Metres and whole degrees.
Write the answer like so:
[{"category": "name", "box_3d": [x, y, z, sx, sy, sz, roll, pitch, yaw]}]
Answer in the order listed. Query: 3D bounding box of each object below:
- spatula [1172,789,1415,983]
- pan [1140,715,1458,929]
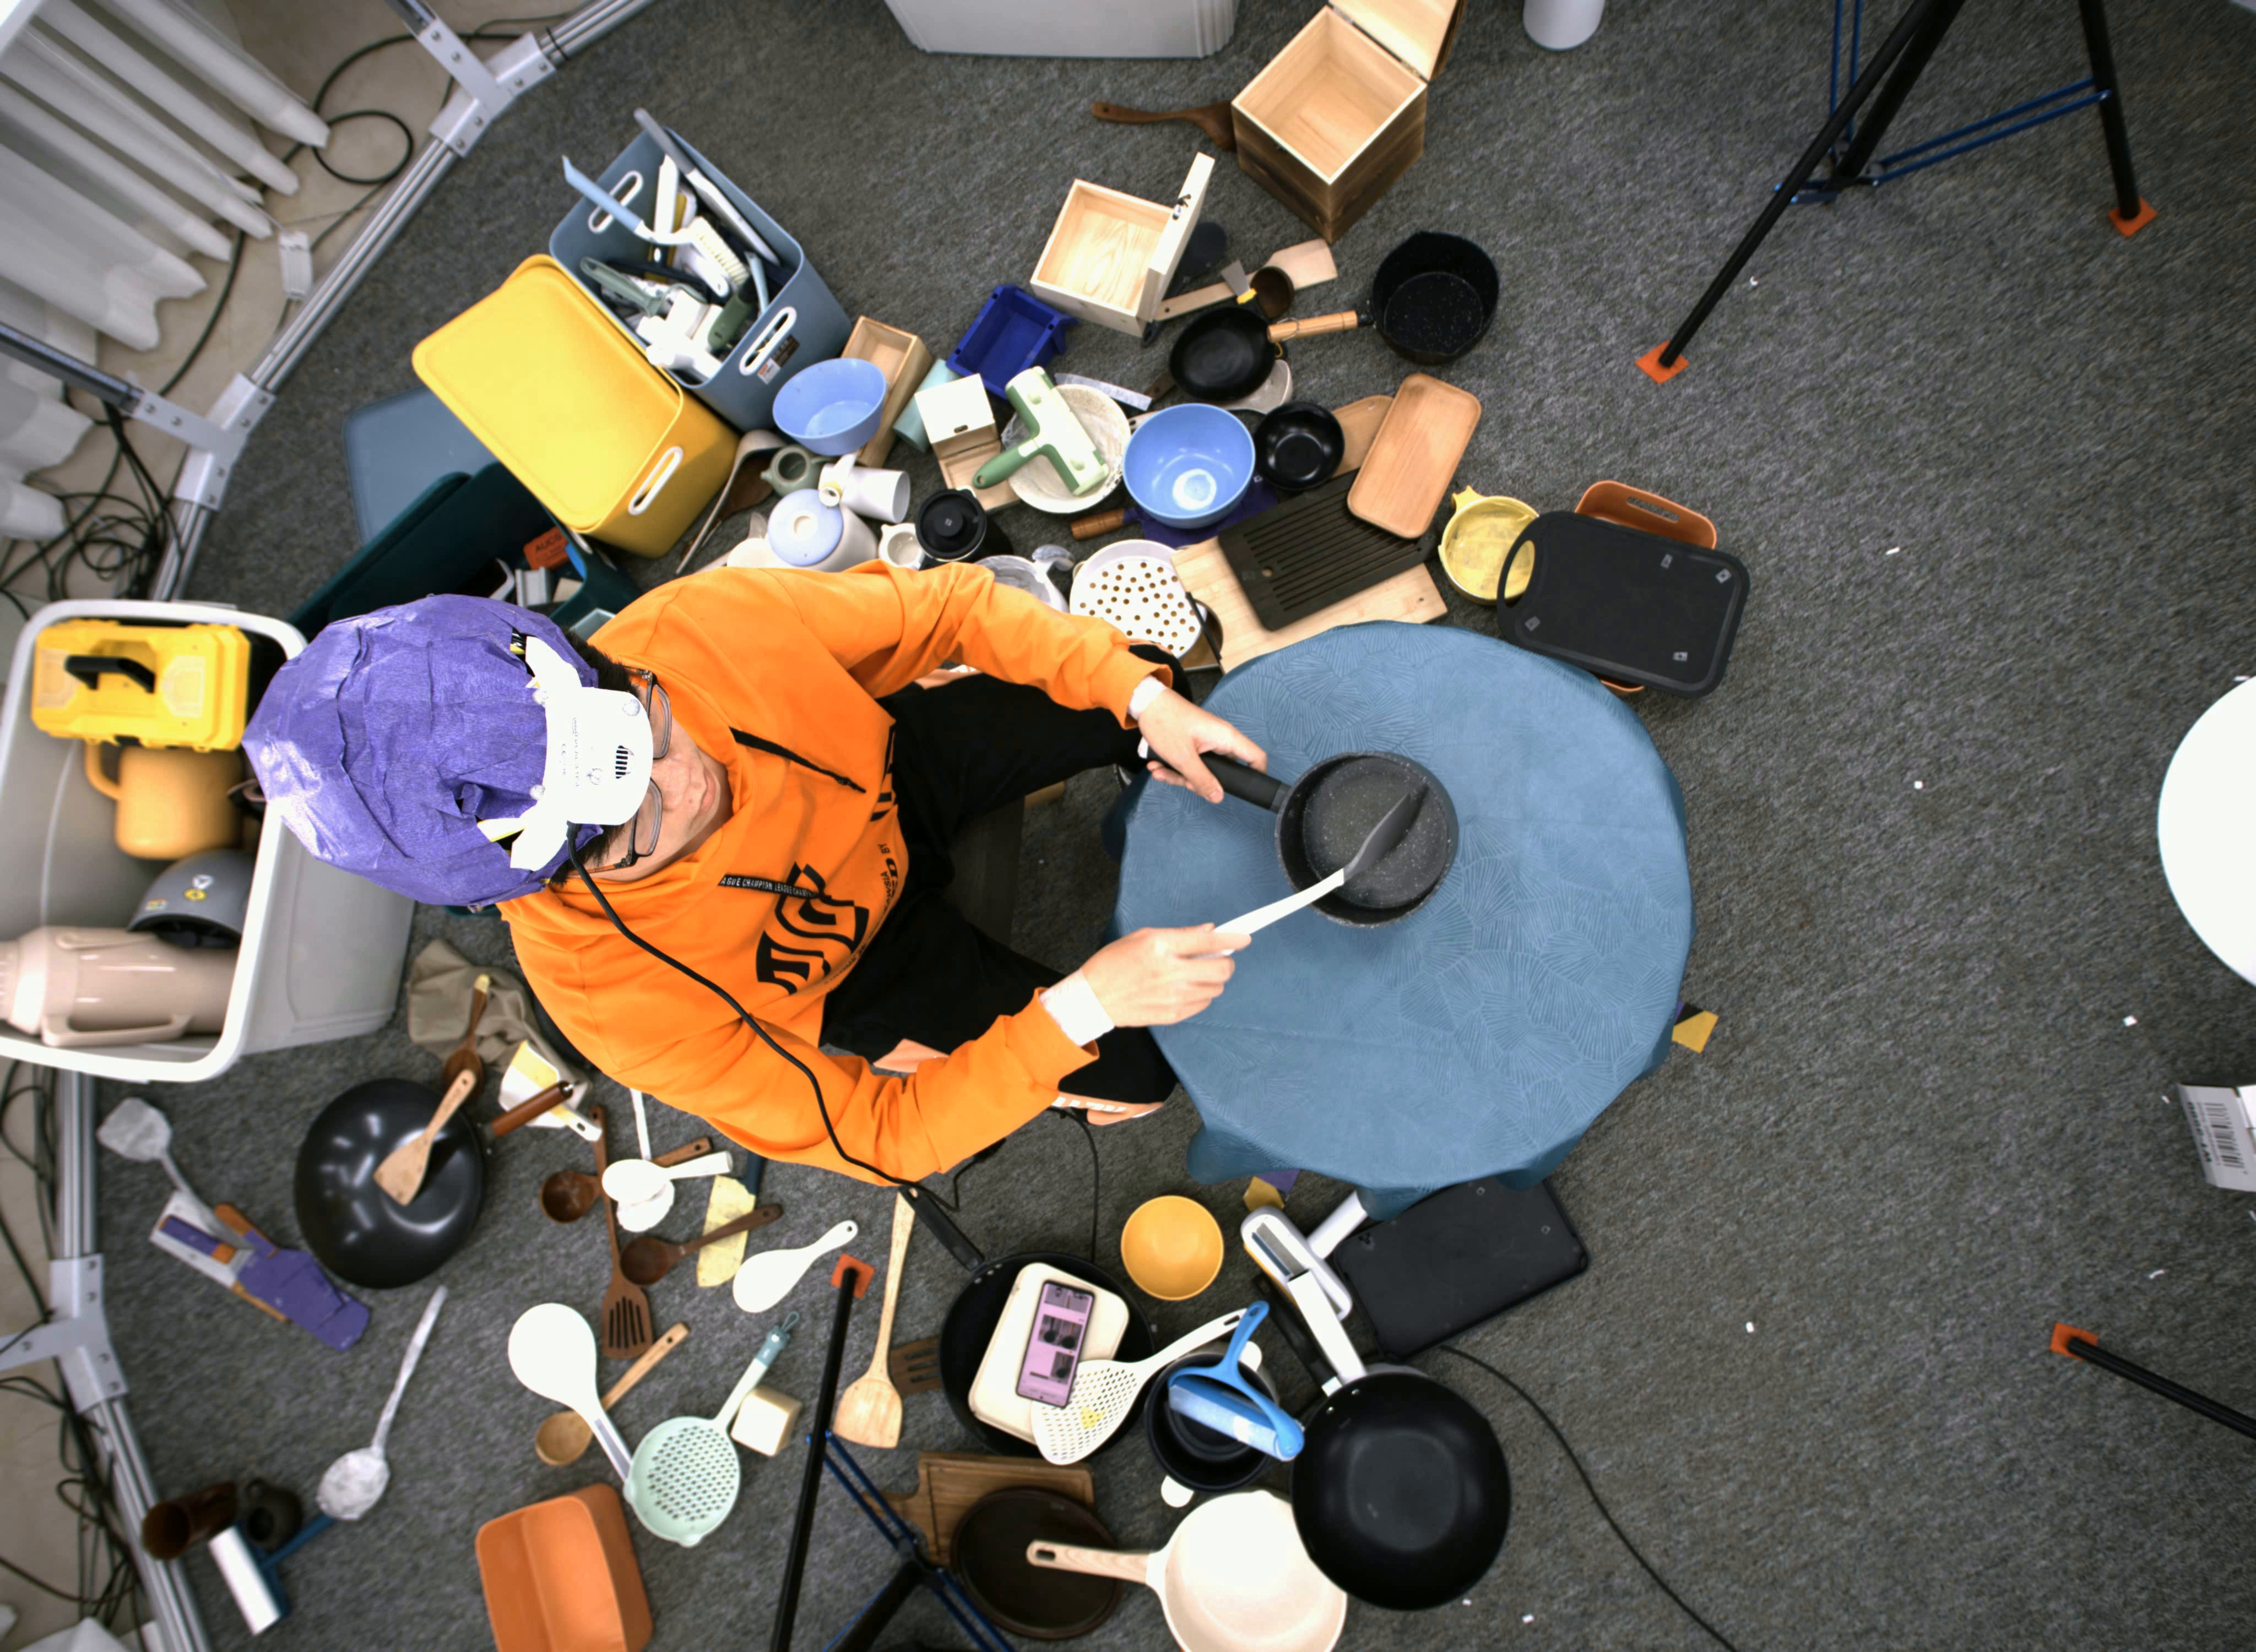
[{"category": "spatula", "box_3d": [0.166, 0.057, 1.301, 0.285, 0.060, 0.032, -32, 46, -13]}, {"category": "pan", "box_3d": [0.167, -0.026, 1.369, 0.328, 0.085, 0.174, 28, 107, 15]}]
